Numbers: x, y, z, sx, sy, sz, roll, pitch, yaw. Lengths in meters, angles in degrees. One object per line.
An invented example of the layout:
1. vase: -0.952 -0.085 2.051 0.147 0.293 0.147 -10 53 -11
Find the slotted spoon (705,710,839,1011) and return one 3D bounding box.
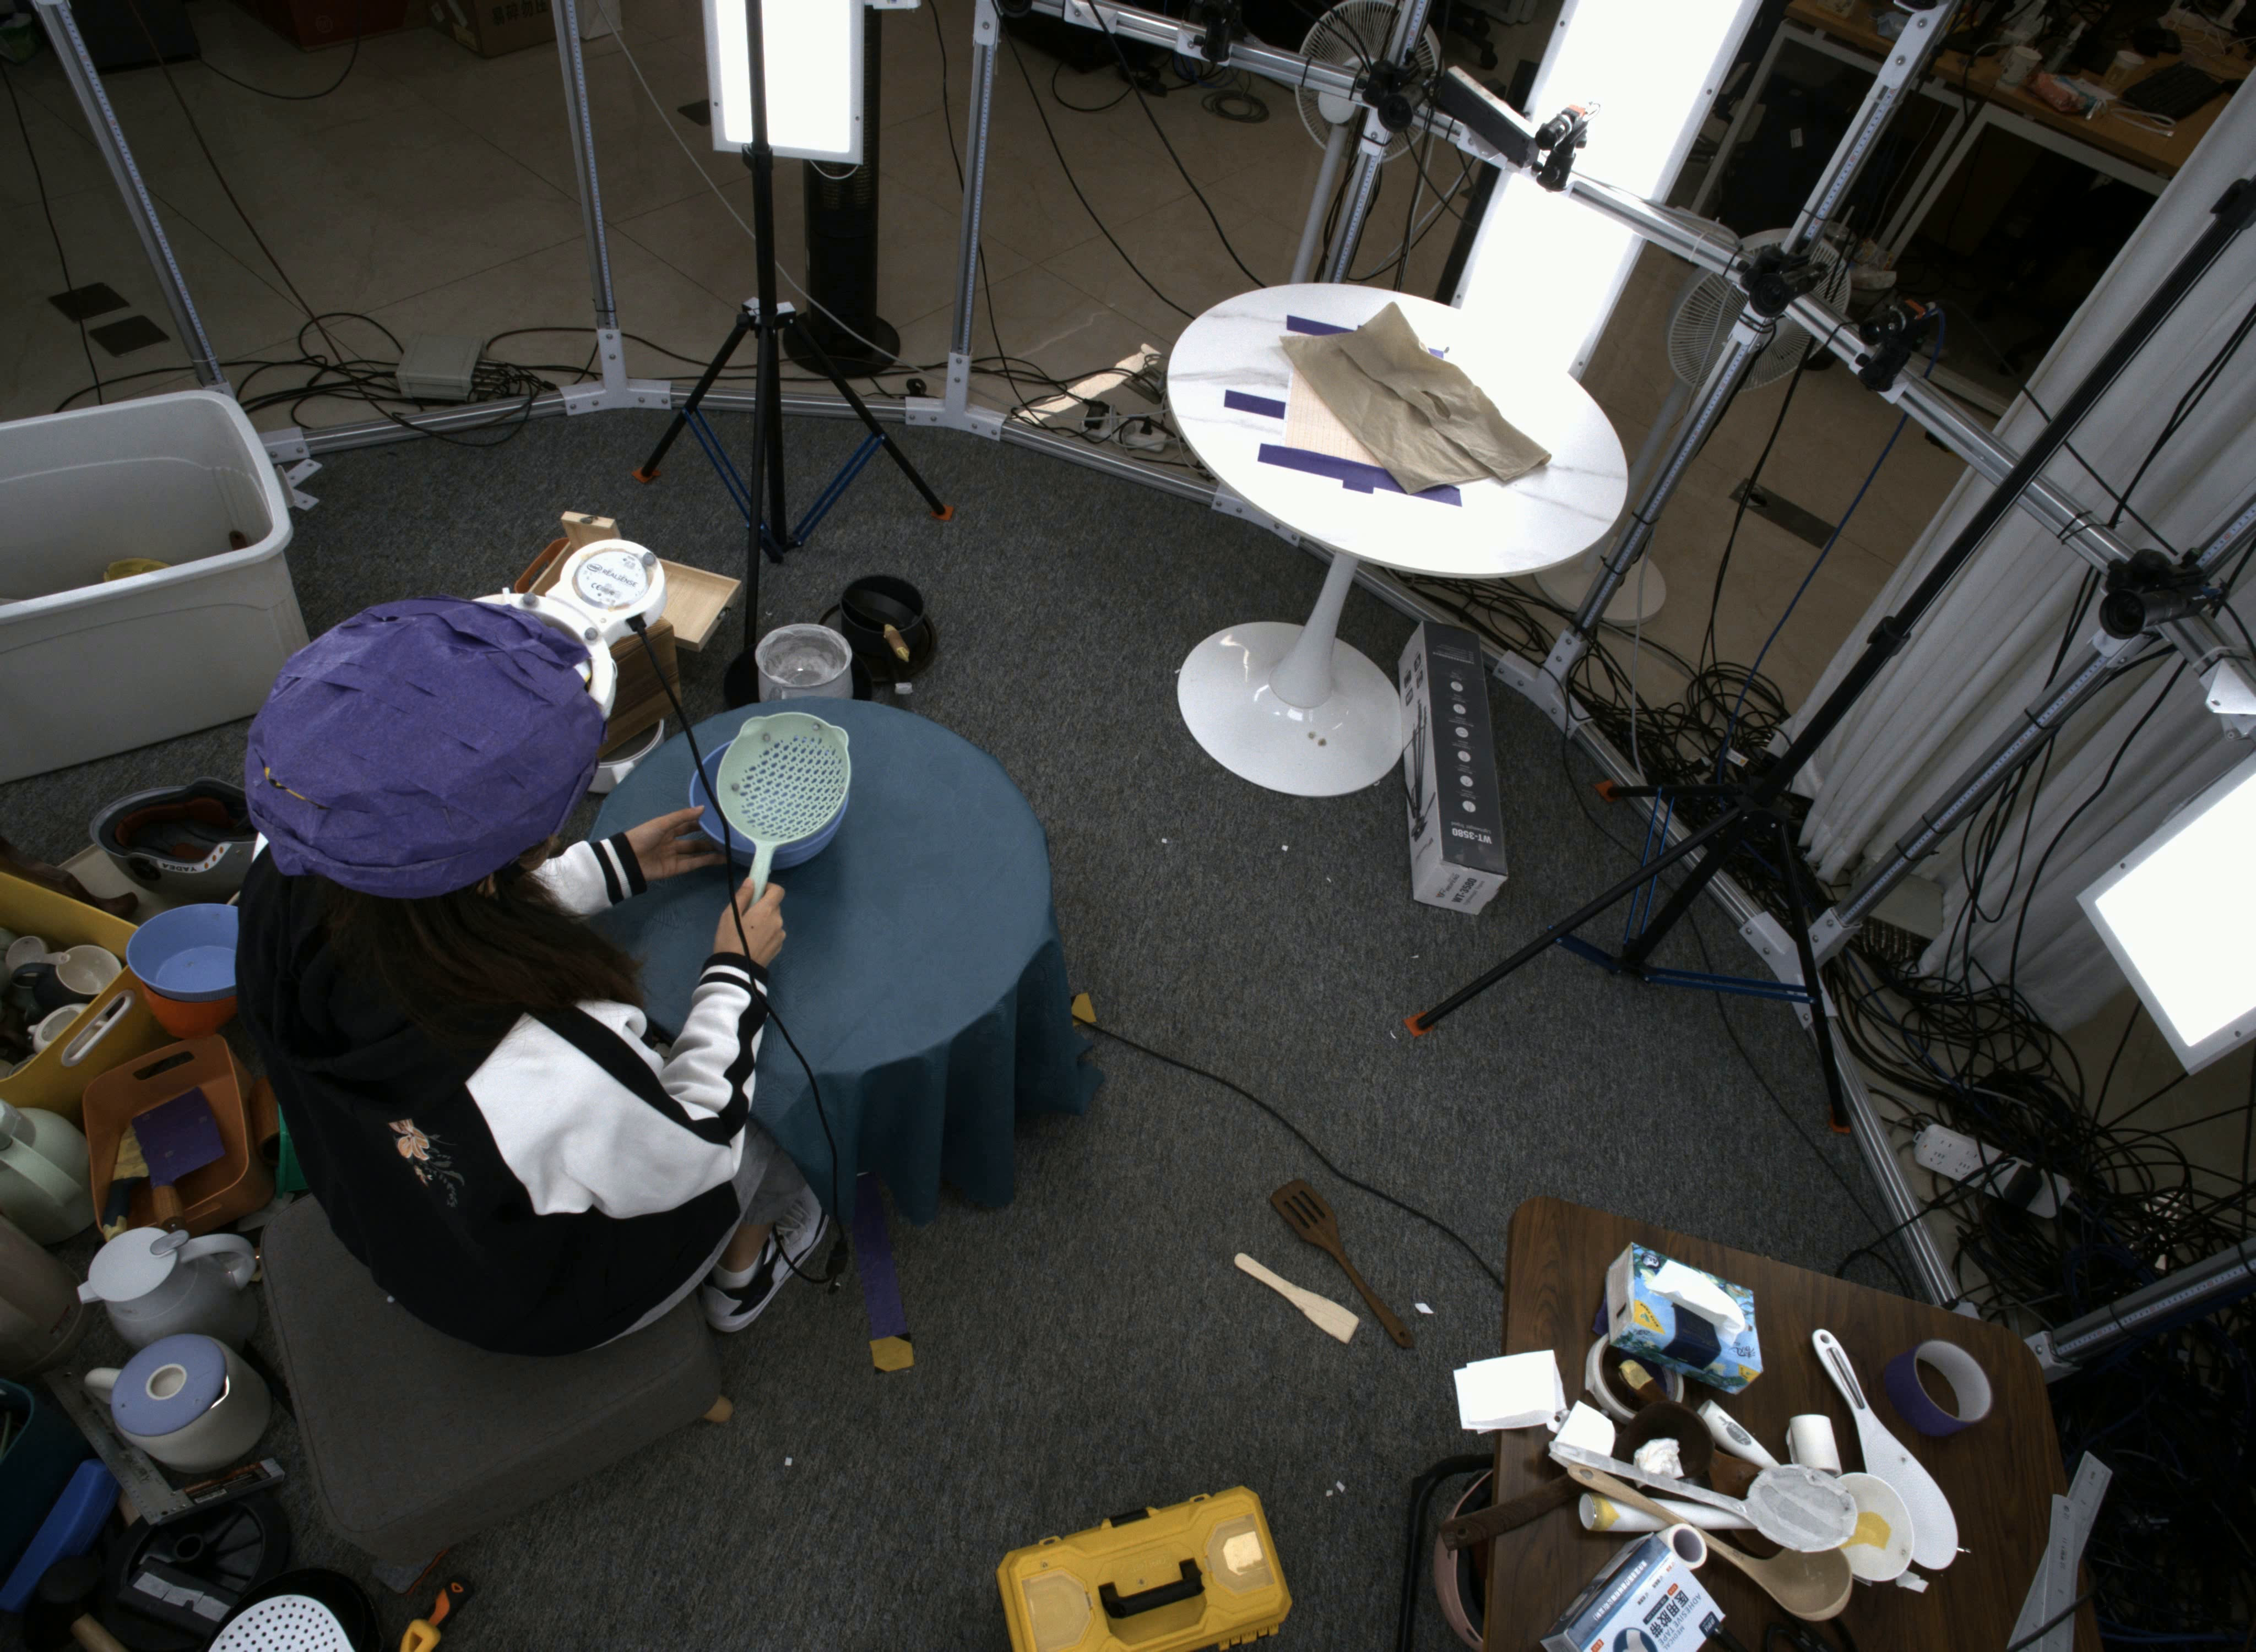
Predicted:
1. slotted spoon: -0.444 0.035 1.544 0.166 0.077 0.356 6 66 9

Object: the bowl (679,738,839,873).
1. bowl: -0.470 -0.016 1.658 0.196 0.097 0.193 8 53 -9
